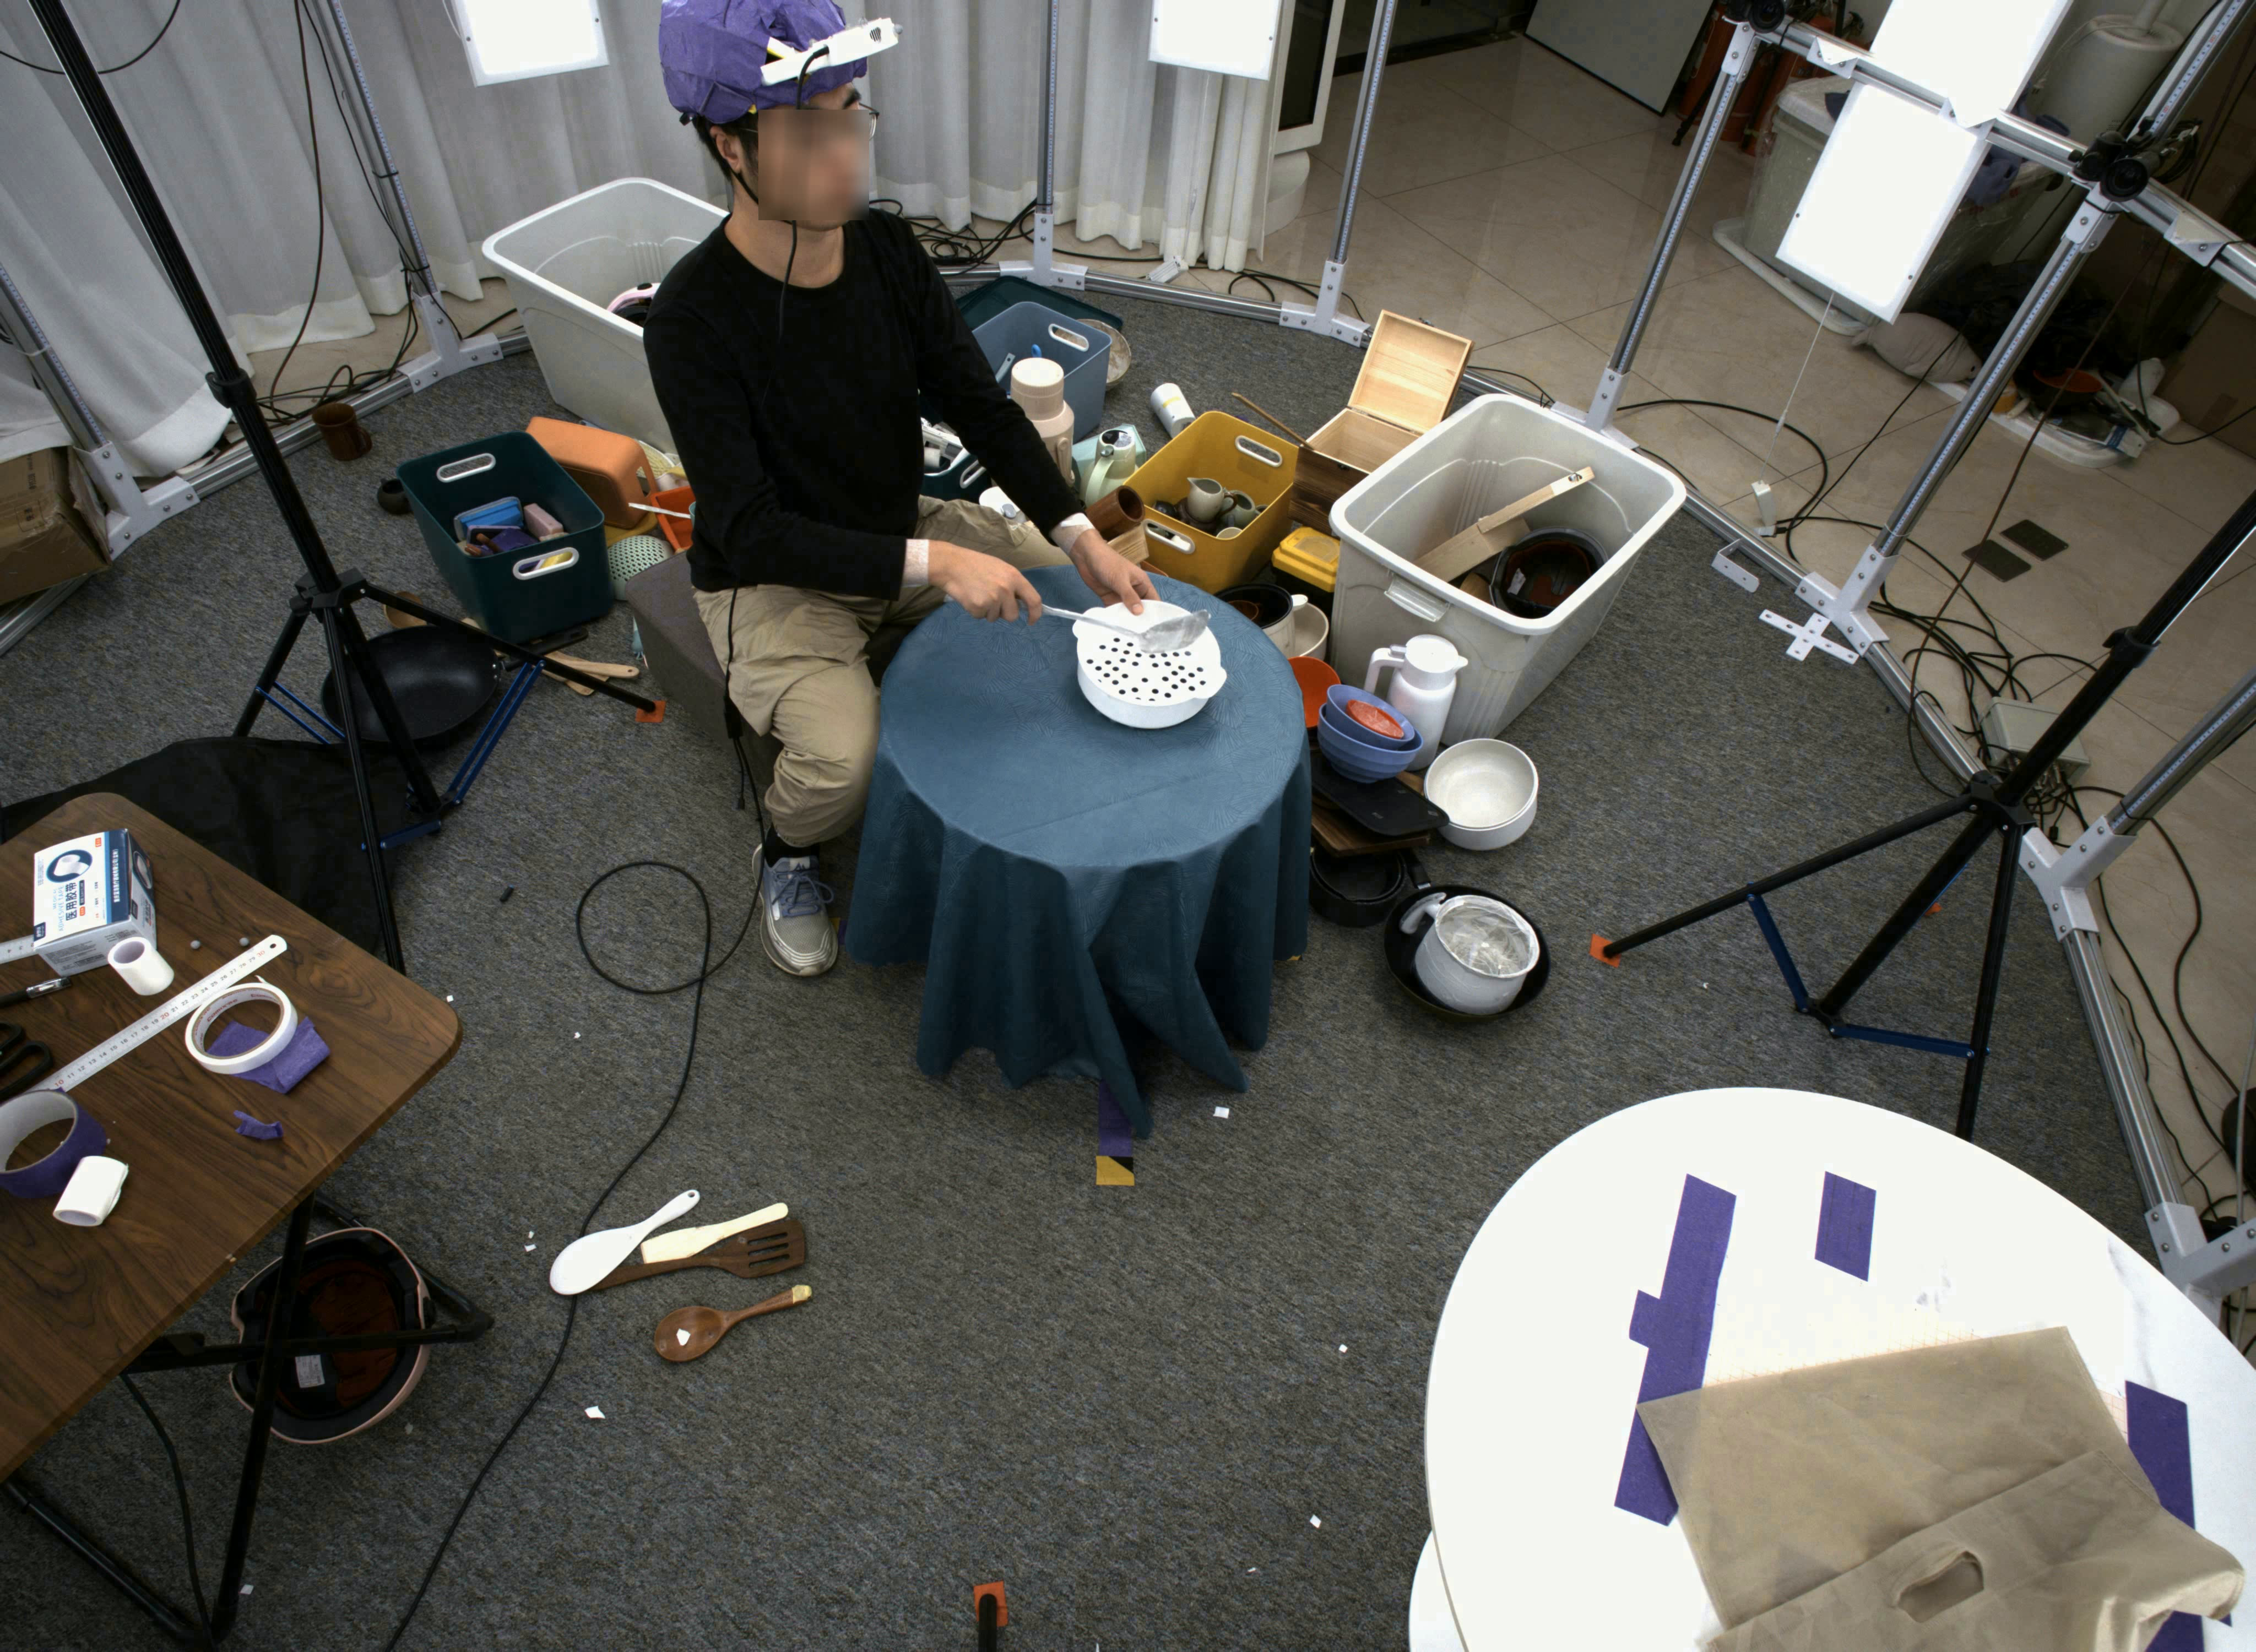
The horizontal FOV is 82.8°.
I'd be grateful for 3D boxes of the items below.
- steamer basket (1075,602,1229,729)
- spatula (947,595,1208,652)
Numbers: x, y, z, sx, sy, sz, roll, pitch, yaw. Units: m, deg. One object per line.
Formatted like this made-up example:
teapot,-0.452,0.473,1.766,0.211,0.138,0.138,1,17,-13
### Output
steamer basket,0.031,-0.226,1.819,0.232,0.067,0.205,28,54,16
spatula,-0.066,-0.290,1.771,0.363,0.097,0.045,9,63,-15
